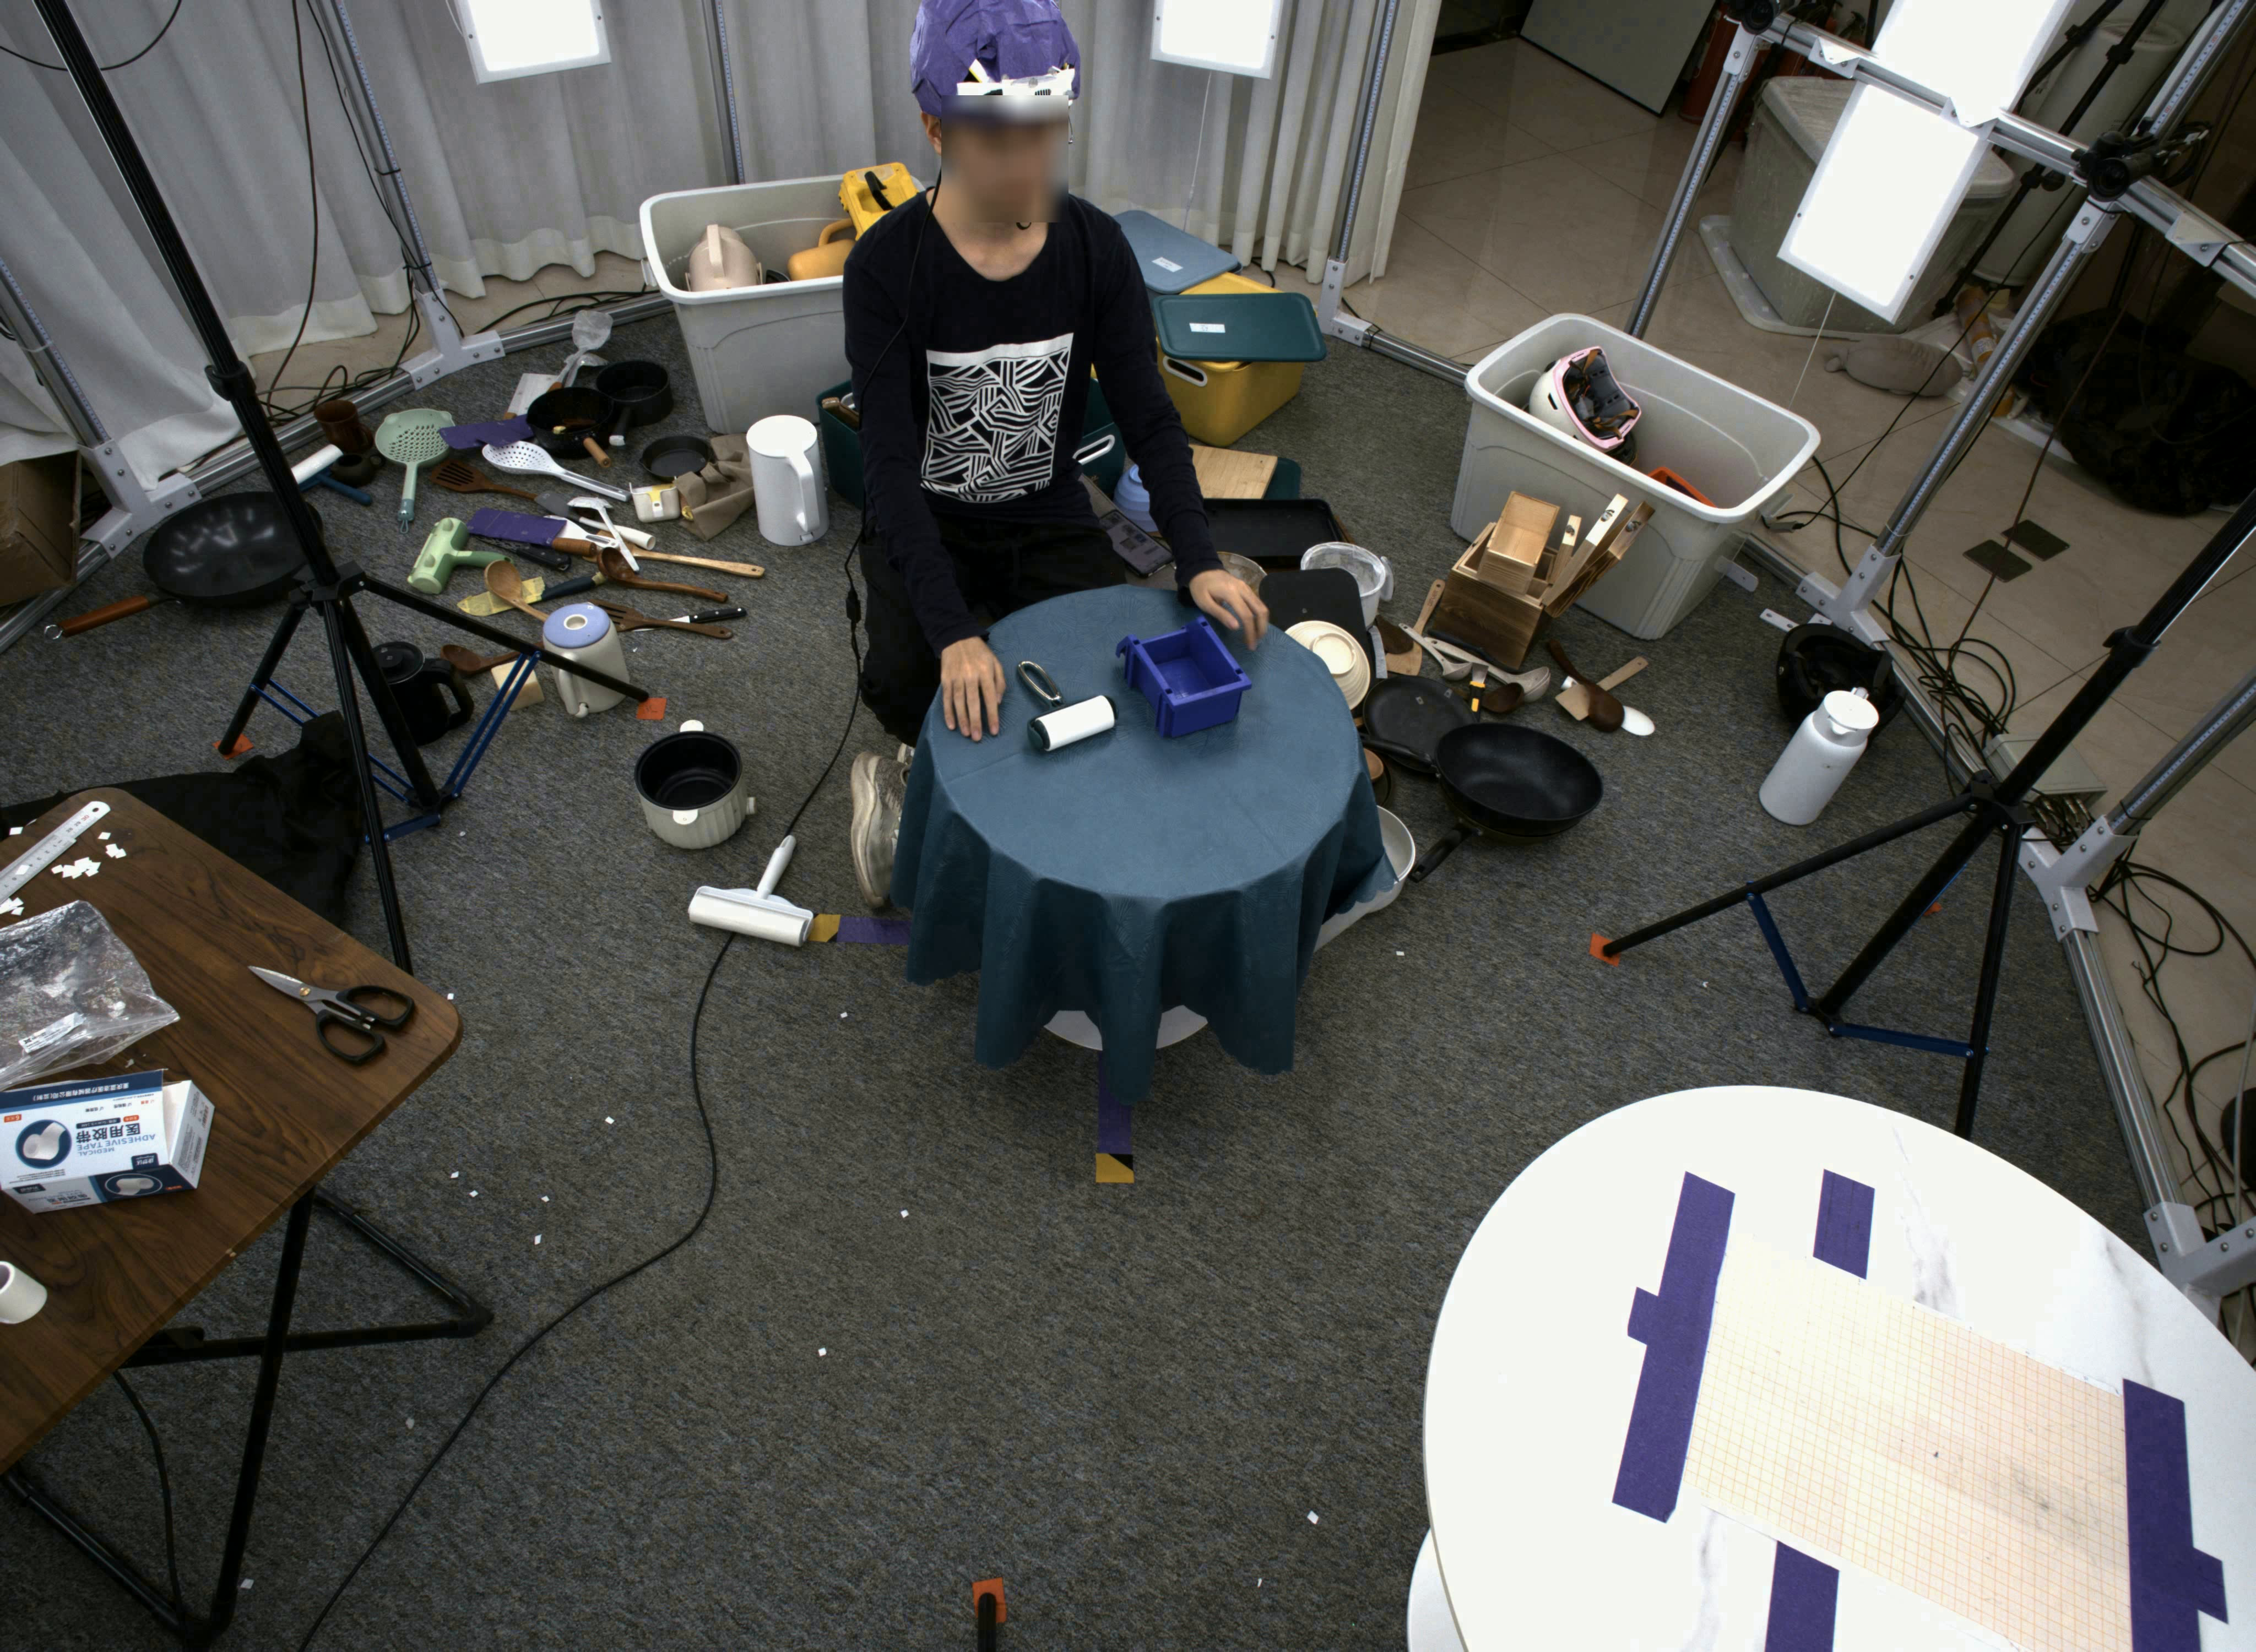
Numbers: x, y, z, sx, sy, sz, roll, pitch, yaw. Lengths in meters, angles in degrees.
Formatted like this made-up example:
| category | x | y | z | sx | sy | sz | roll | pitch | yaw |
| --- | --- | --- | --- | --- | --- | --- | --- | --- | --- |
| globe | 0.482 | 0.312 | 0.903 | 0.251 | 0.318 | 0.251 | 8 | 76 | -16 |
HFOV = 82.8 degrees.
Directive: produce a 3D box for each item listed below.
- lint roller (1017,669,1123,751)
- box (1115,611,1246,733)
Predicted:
| category | x | y | z | sx | sy | sz | roll | pitch | yaw |
| --- | --- | --- | --- | --- | --- | --- | --- | --- | --- |
| lint roller | -0.107 | -0.184 | 1.795 | 0.135 | 0.047 | 0.184 | -22 | 50 | -21 |
| box | 0.069 | -0.223 | 1.812 | 0.124 | 0.080 | 0.183 | -16 | 55 | -16 |
